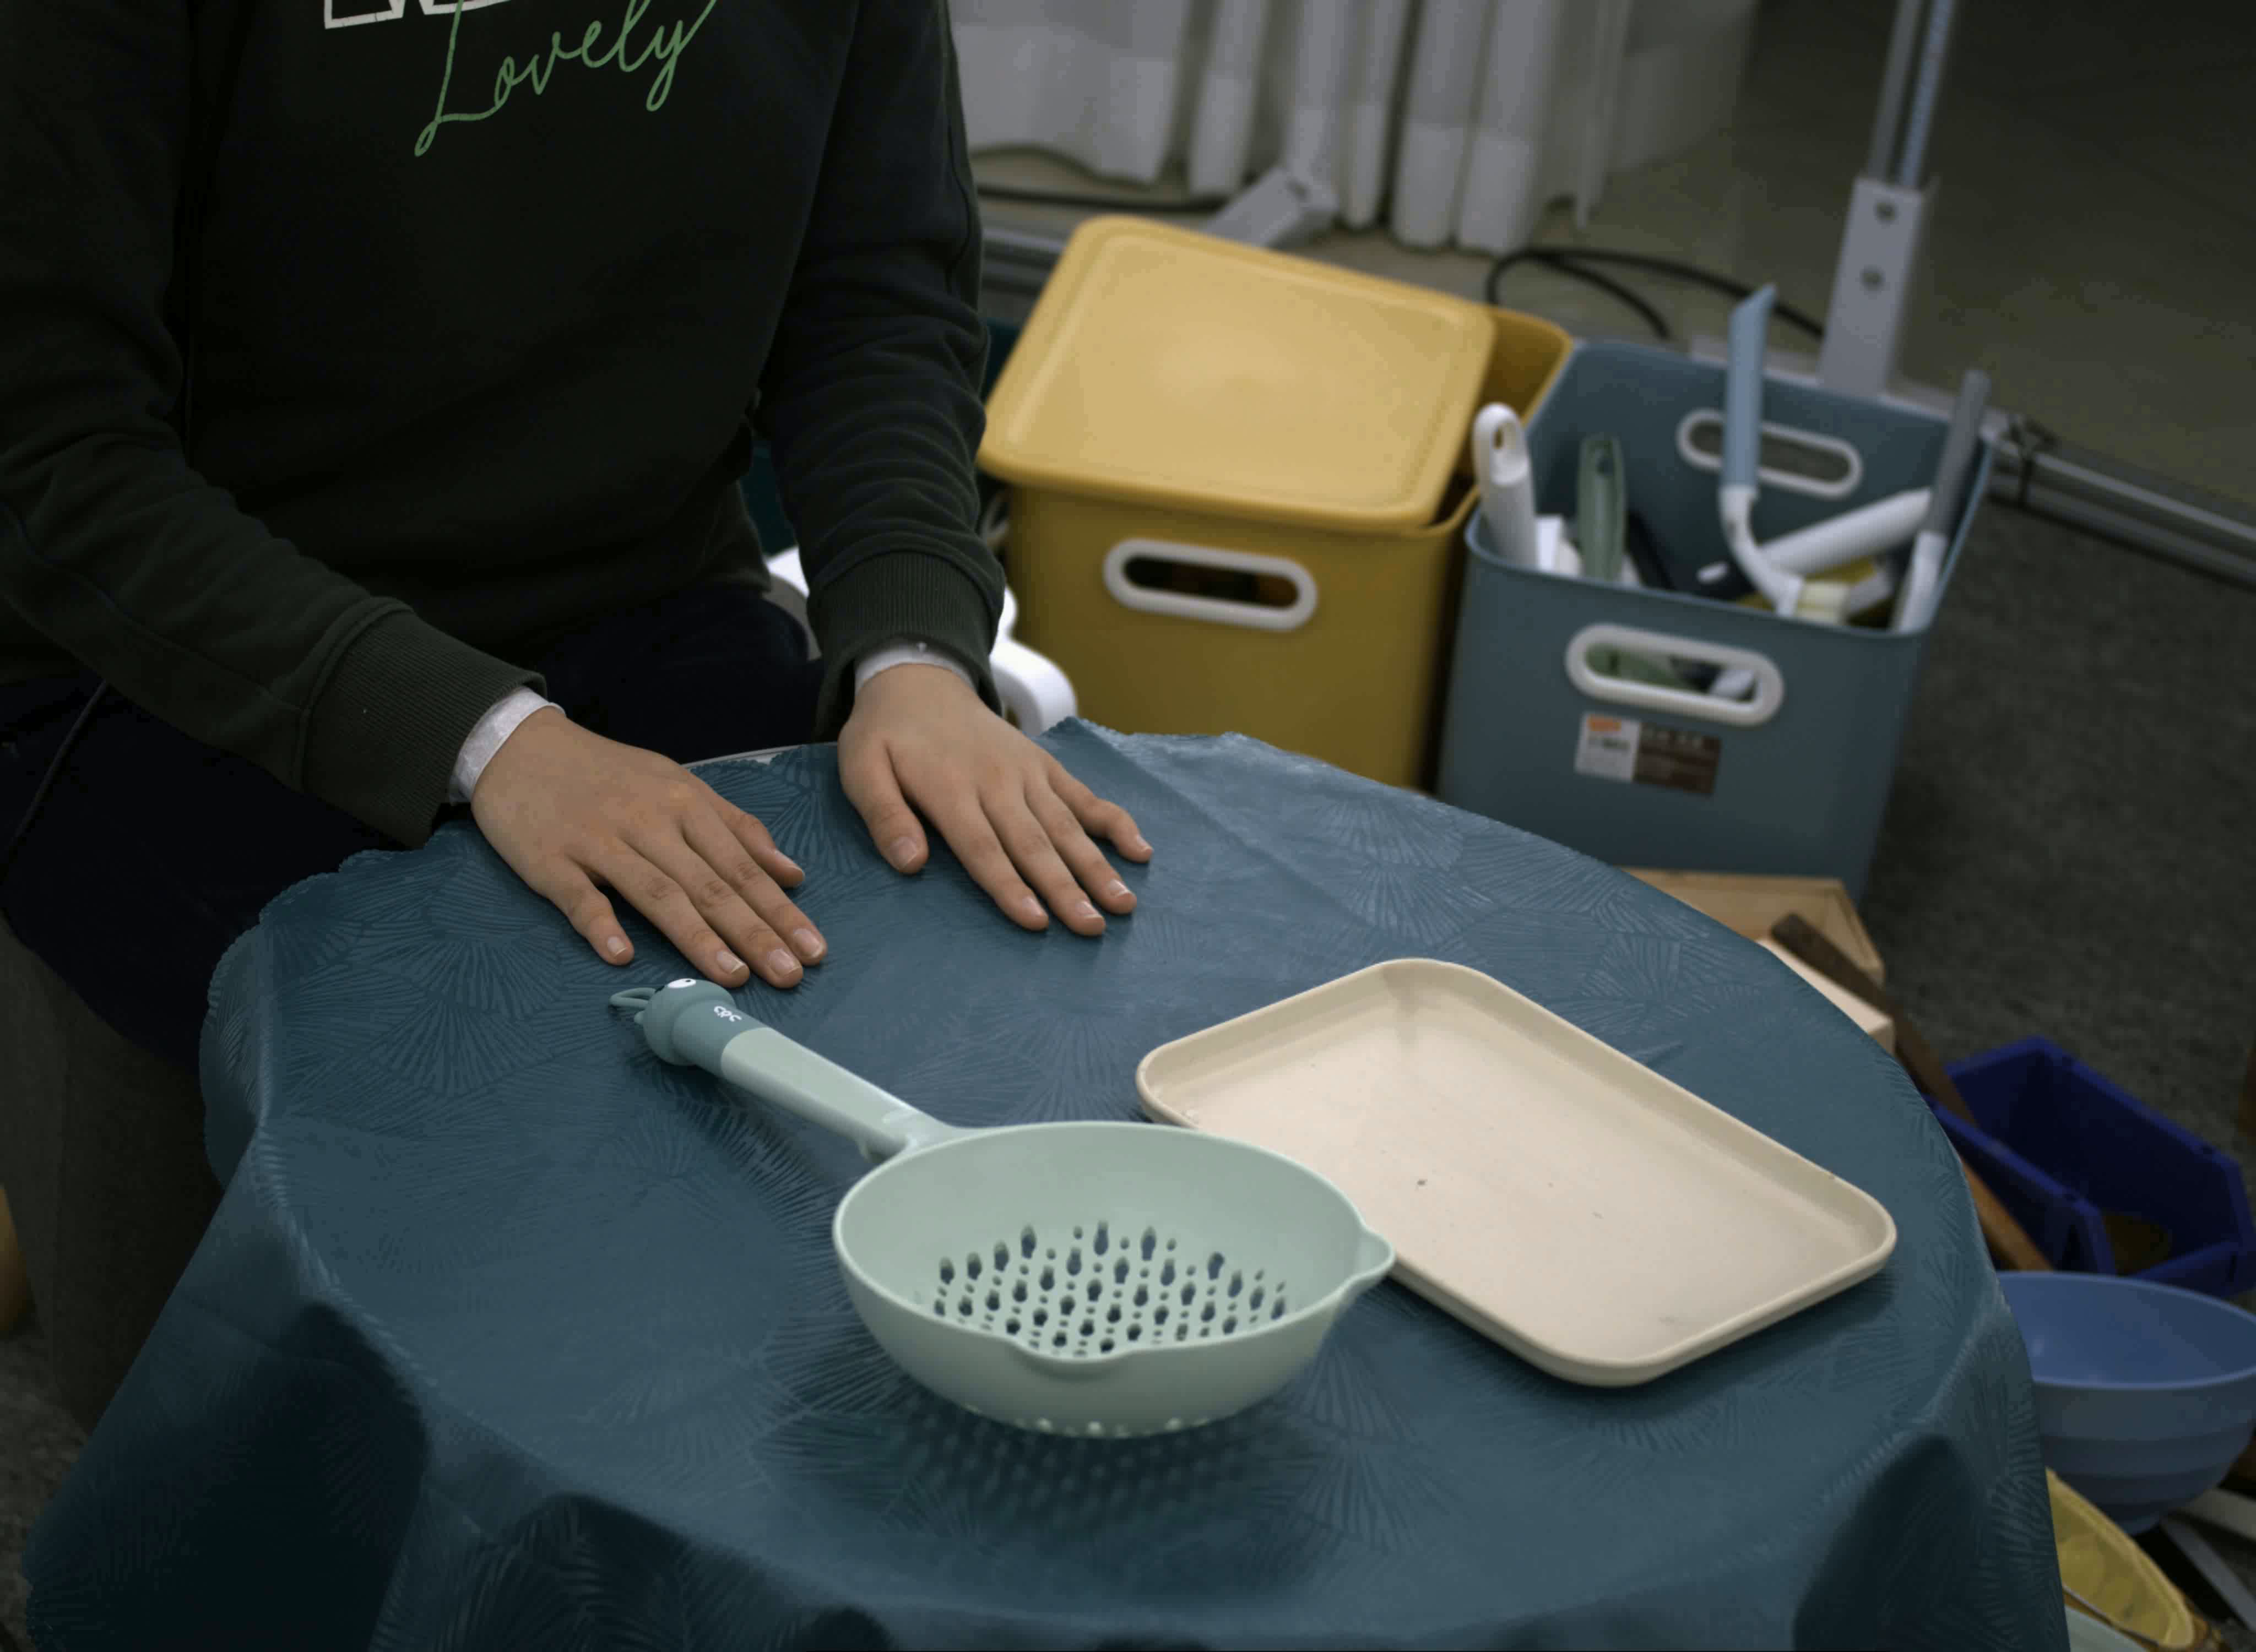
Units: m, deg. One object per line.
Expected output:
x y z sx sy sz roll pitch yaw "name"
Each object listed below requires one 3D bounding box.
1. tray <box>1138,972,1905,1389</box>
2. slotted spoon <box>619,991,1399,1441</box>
0.132 0.119 1.821 0.170 0.017 0.241 -18 35 -40 "tray"
-0.067 0.111 1.742 0.168 0.075 0.362 -12 31 -35 "slotted spoon"
